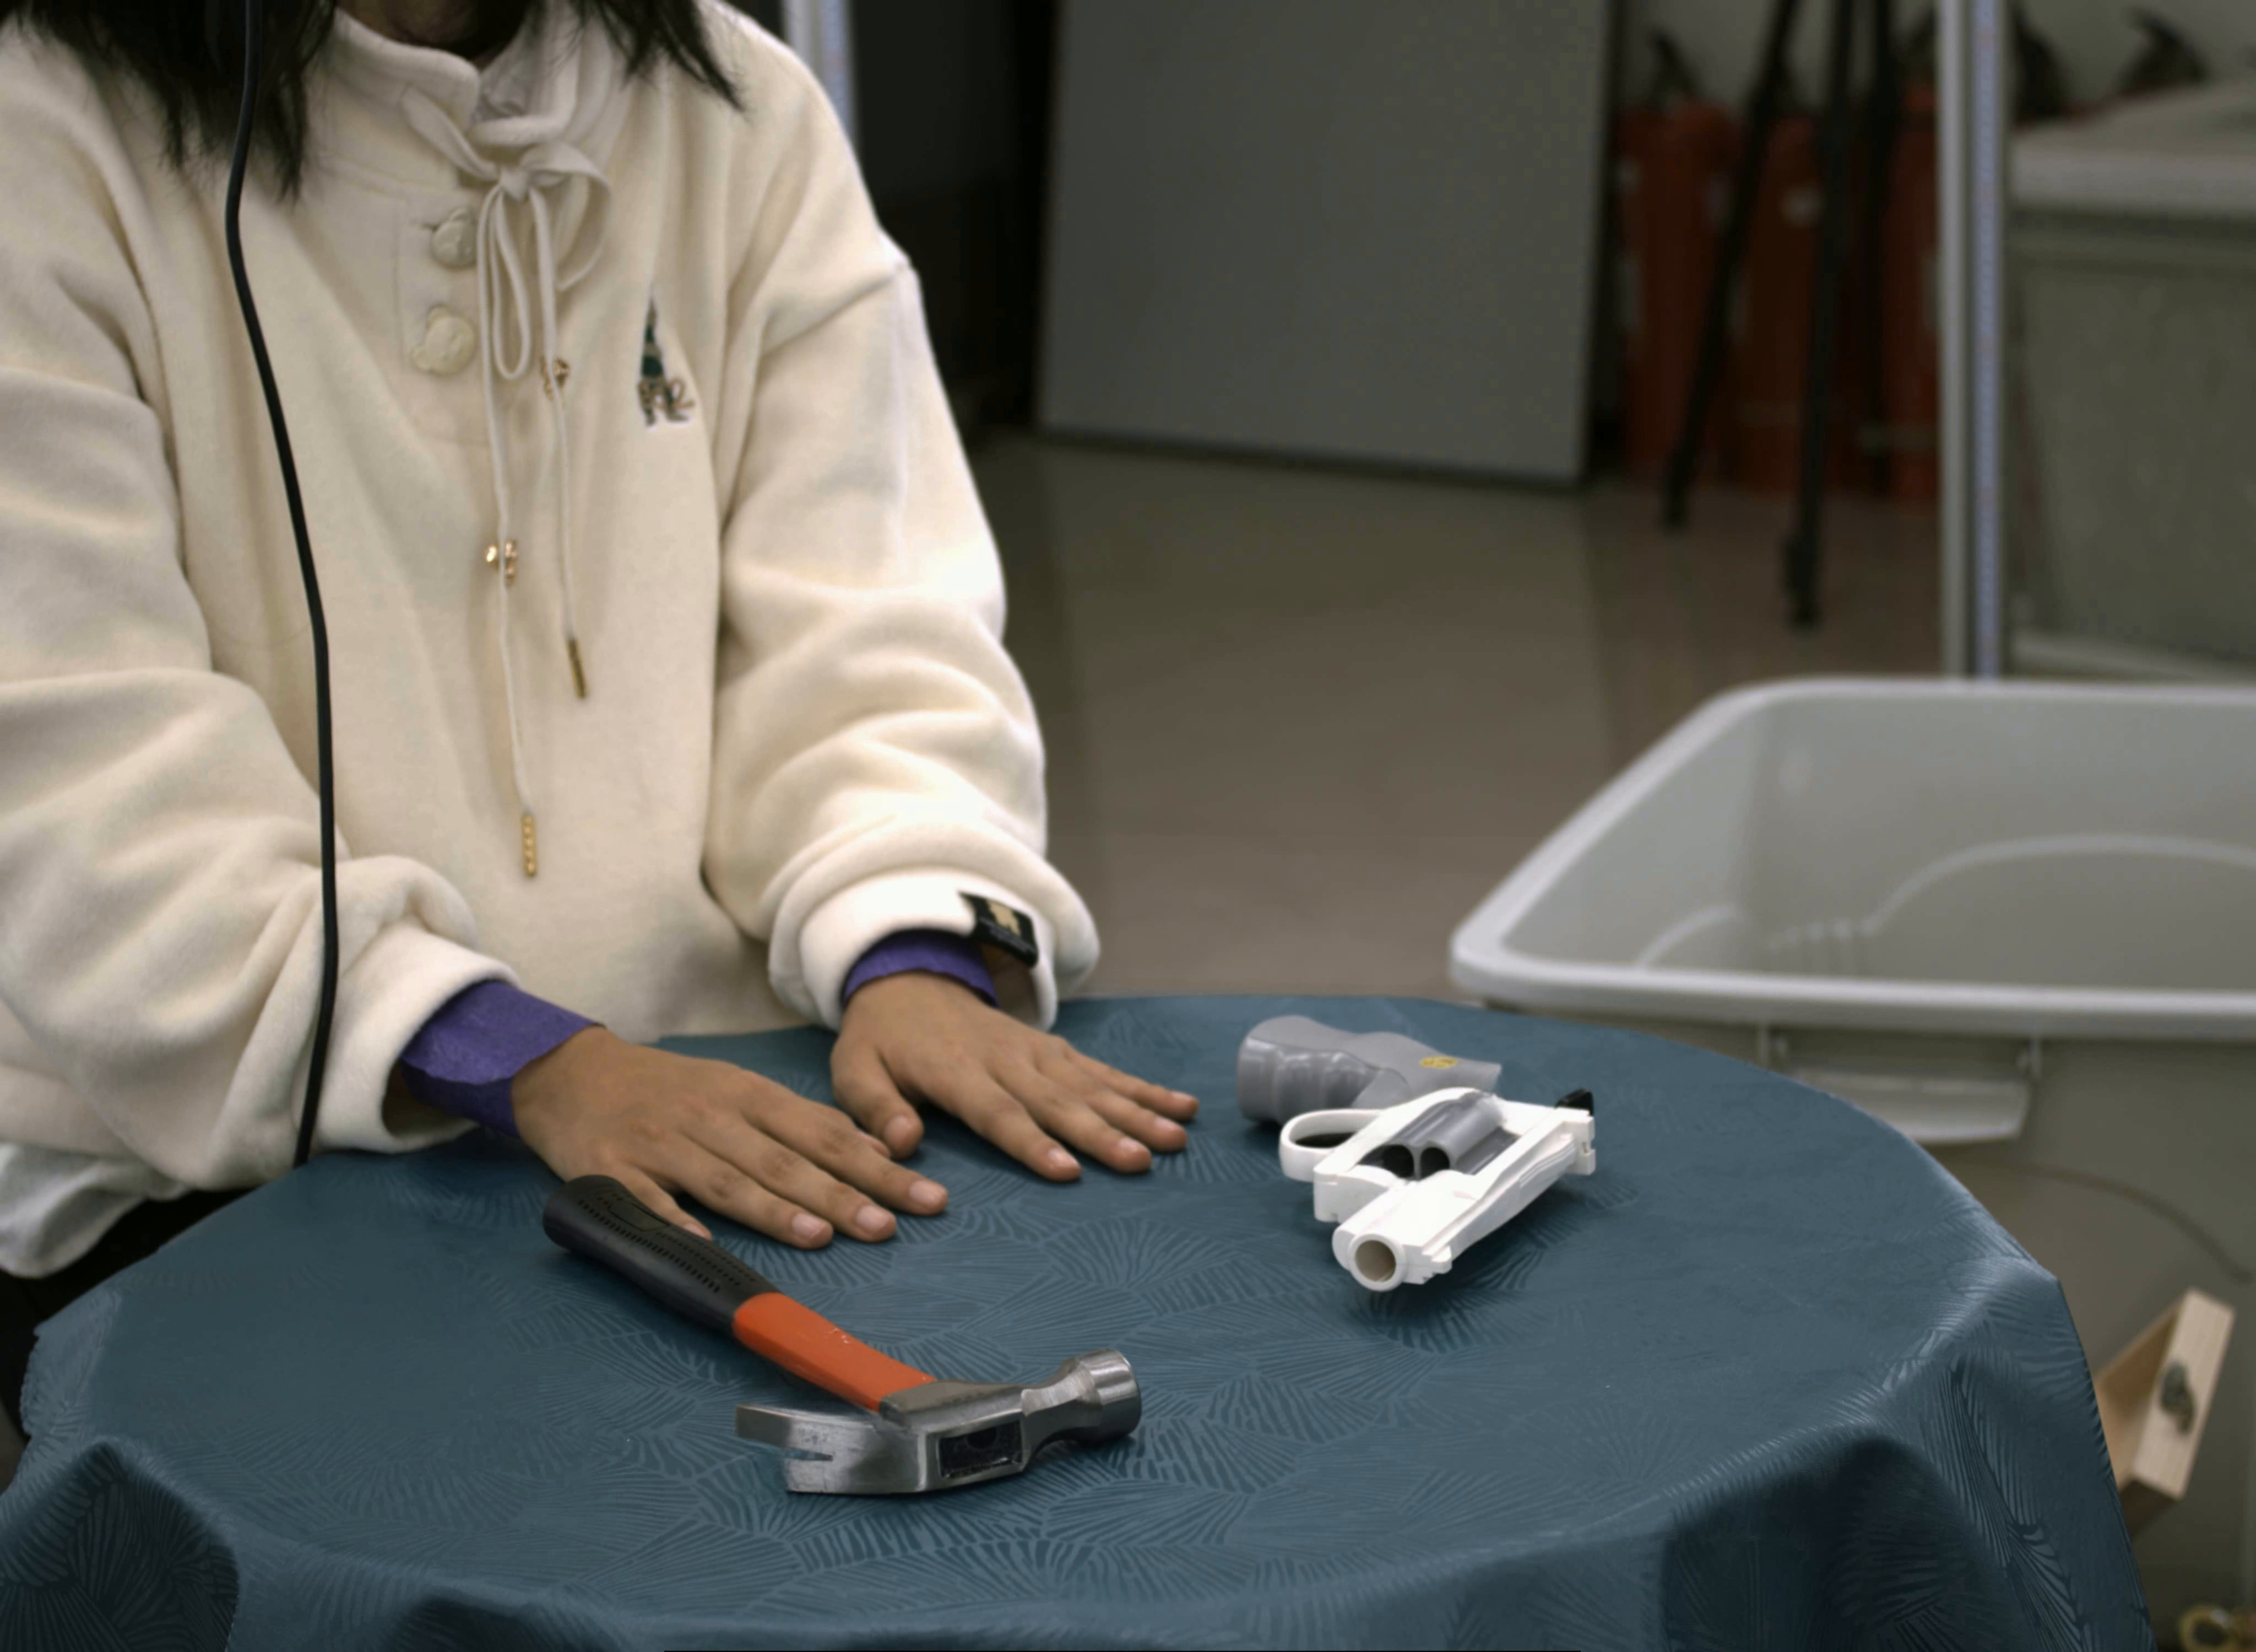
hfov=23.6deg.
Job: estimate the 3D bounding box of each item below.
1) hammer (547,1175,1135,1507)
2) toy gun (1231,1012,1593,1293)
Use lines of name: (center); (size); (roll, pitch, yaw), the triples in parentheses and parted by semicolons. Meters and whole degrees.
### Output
hammer: (-0.110, 0.149, 1.631); (0.108, 0.026, 0.280); (-21, 19, -24)
toy gun: (0.076, 0.103, 1.733); (0.142, 0.039, 0.206); (5, 15, 23)
